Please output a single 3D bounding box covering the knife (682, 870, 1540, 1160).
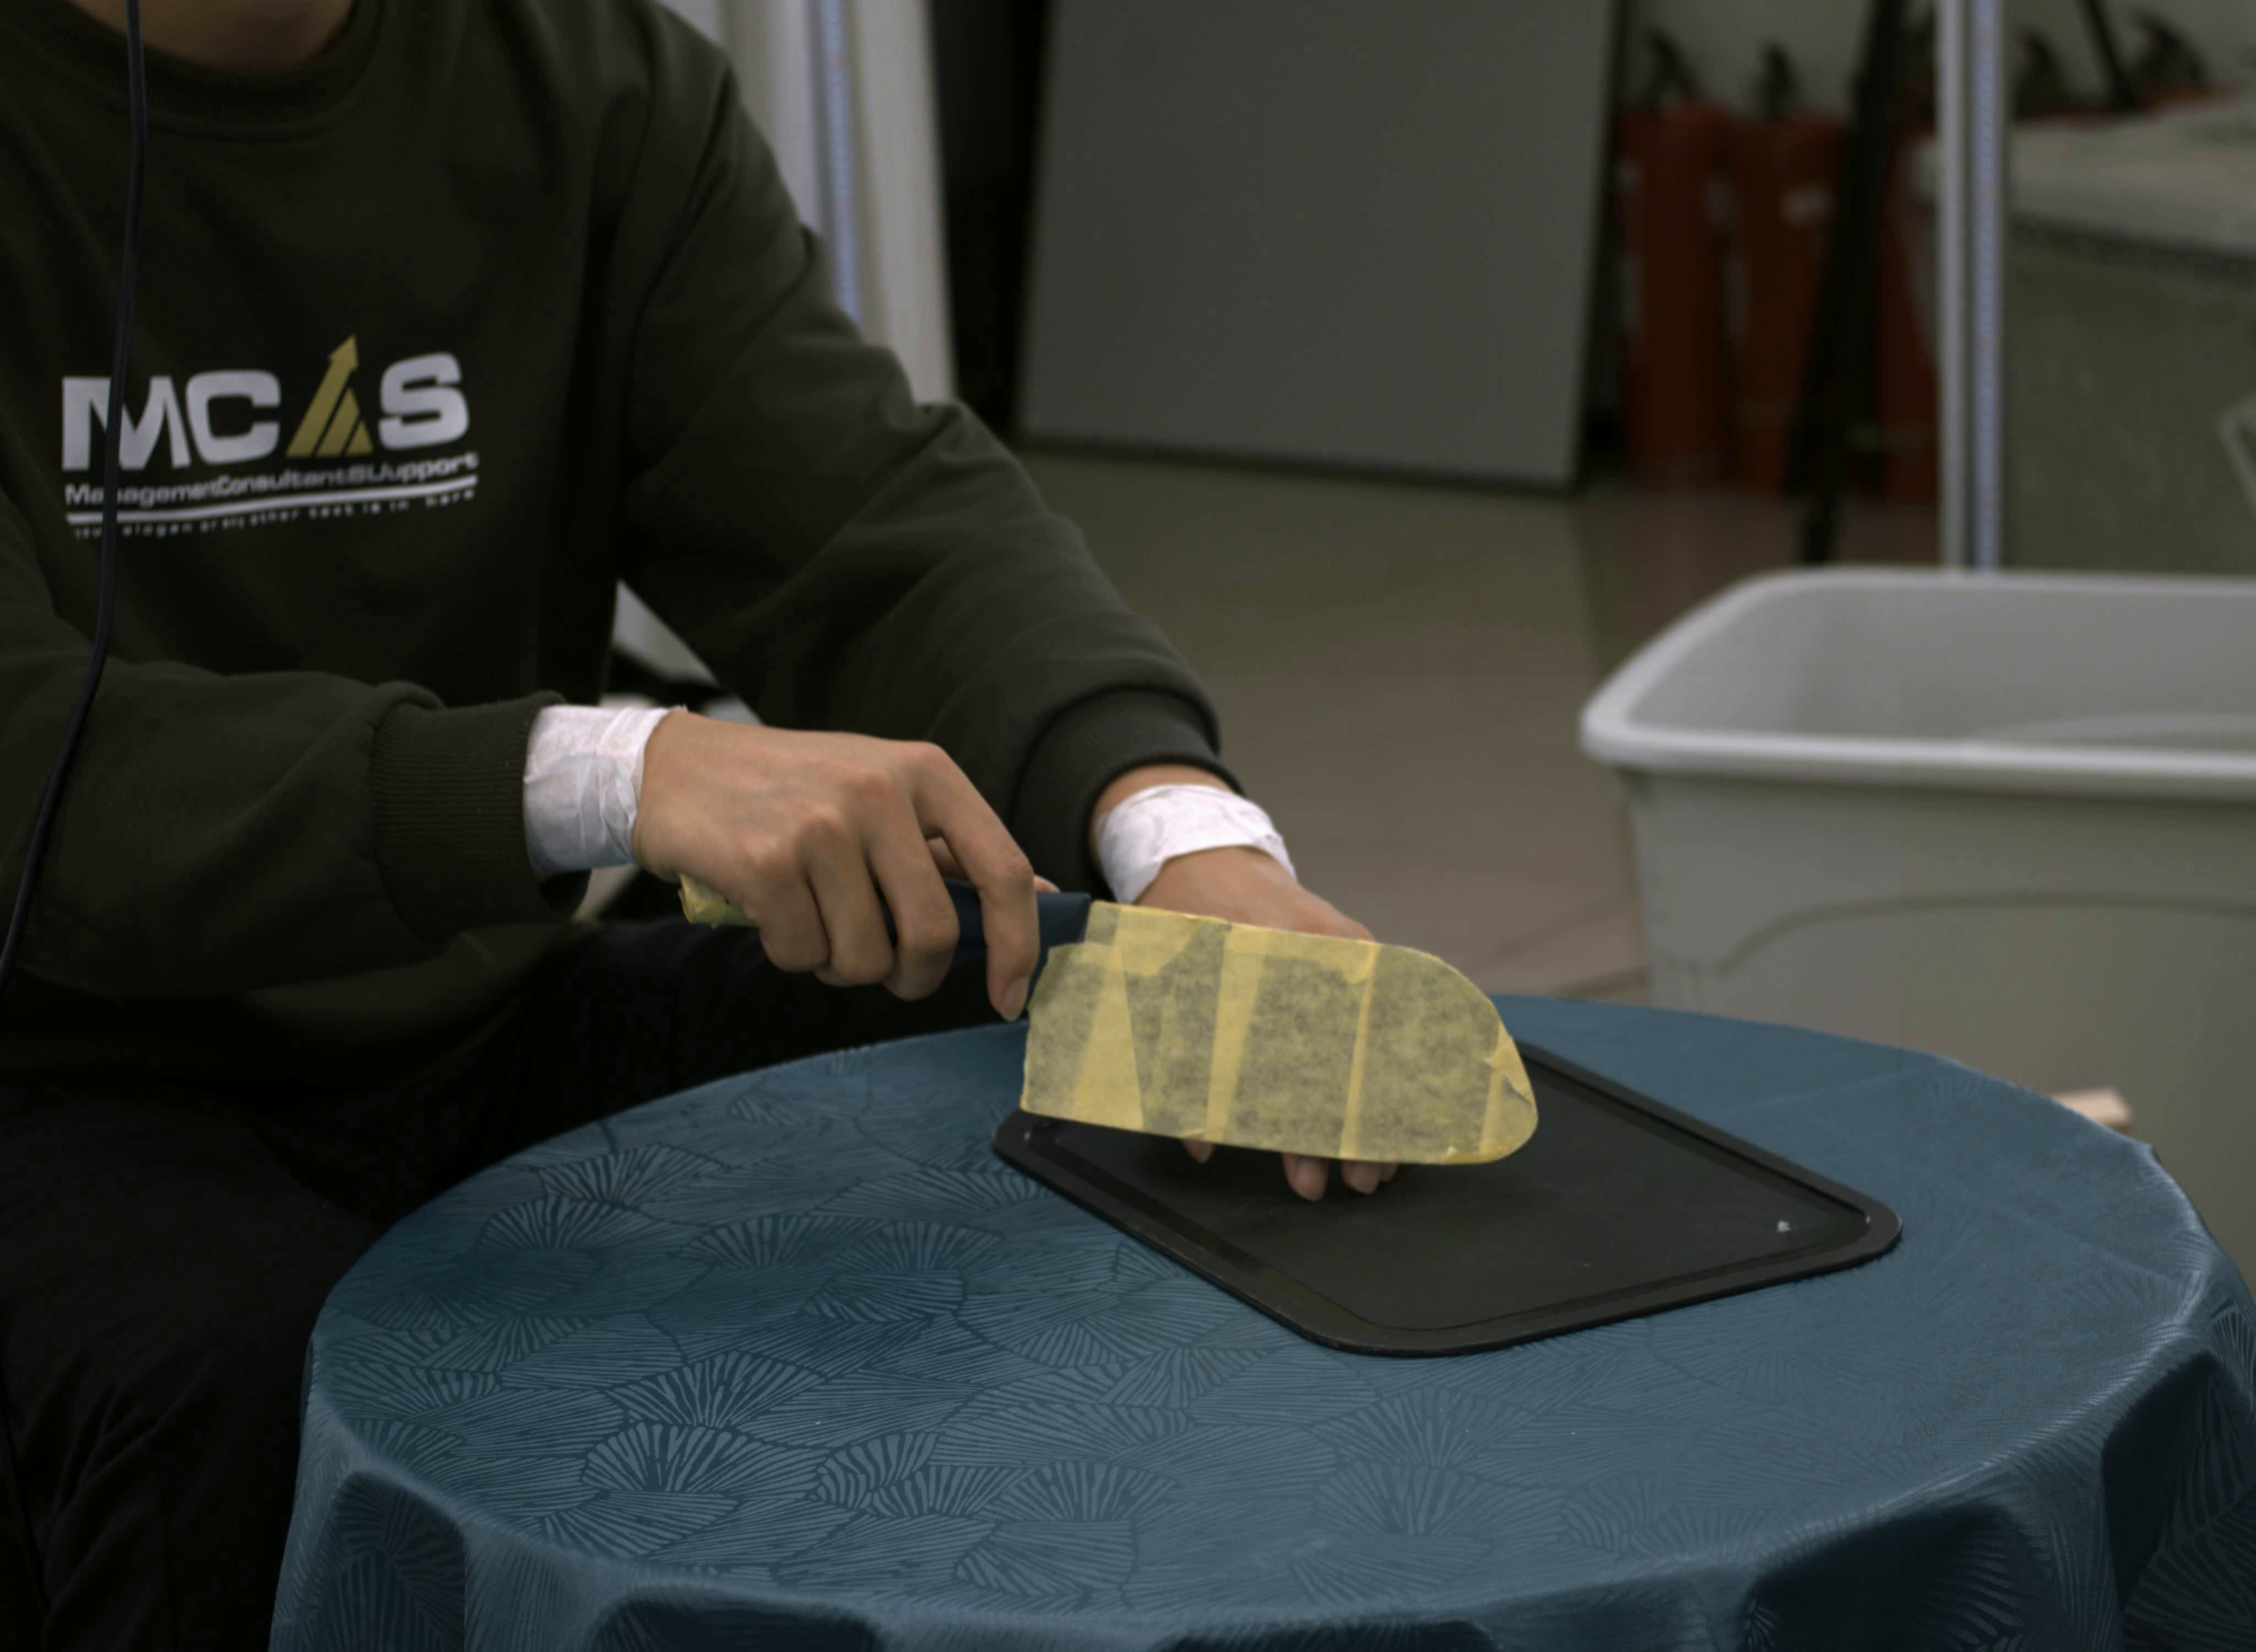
[{"bbox_3d":[-0.006,0.061,1.743,0.286,0.082,0.027,11,-12,1],"label":"knife"}]

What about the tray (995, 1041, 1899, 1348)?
[{"bbox_3d":[0.093,0.113,1.765,0.206,0.010,0.329,-10,15,-24],"label":"tray"}]
